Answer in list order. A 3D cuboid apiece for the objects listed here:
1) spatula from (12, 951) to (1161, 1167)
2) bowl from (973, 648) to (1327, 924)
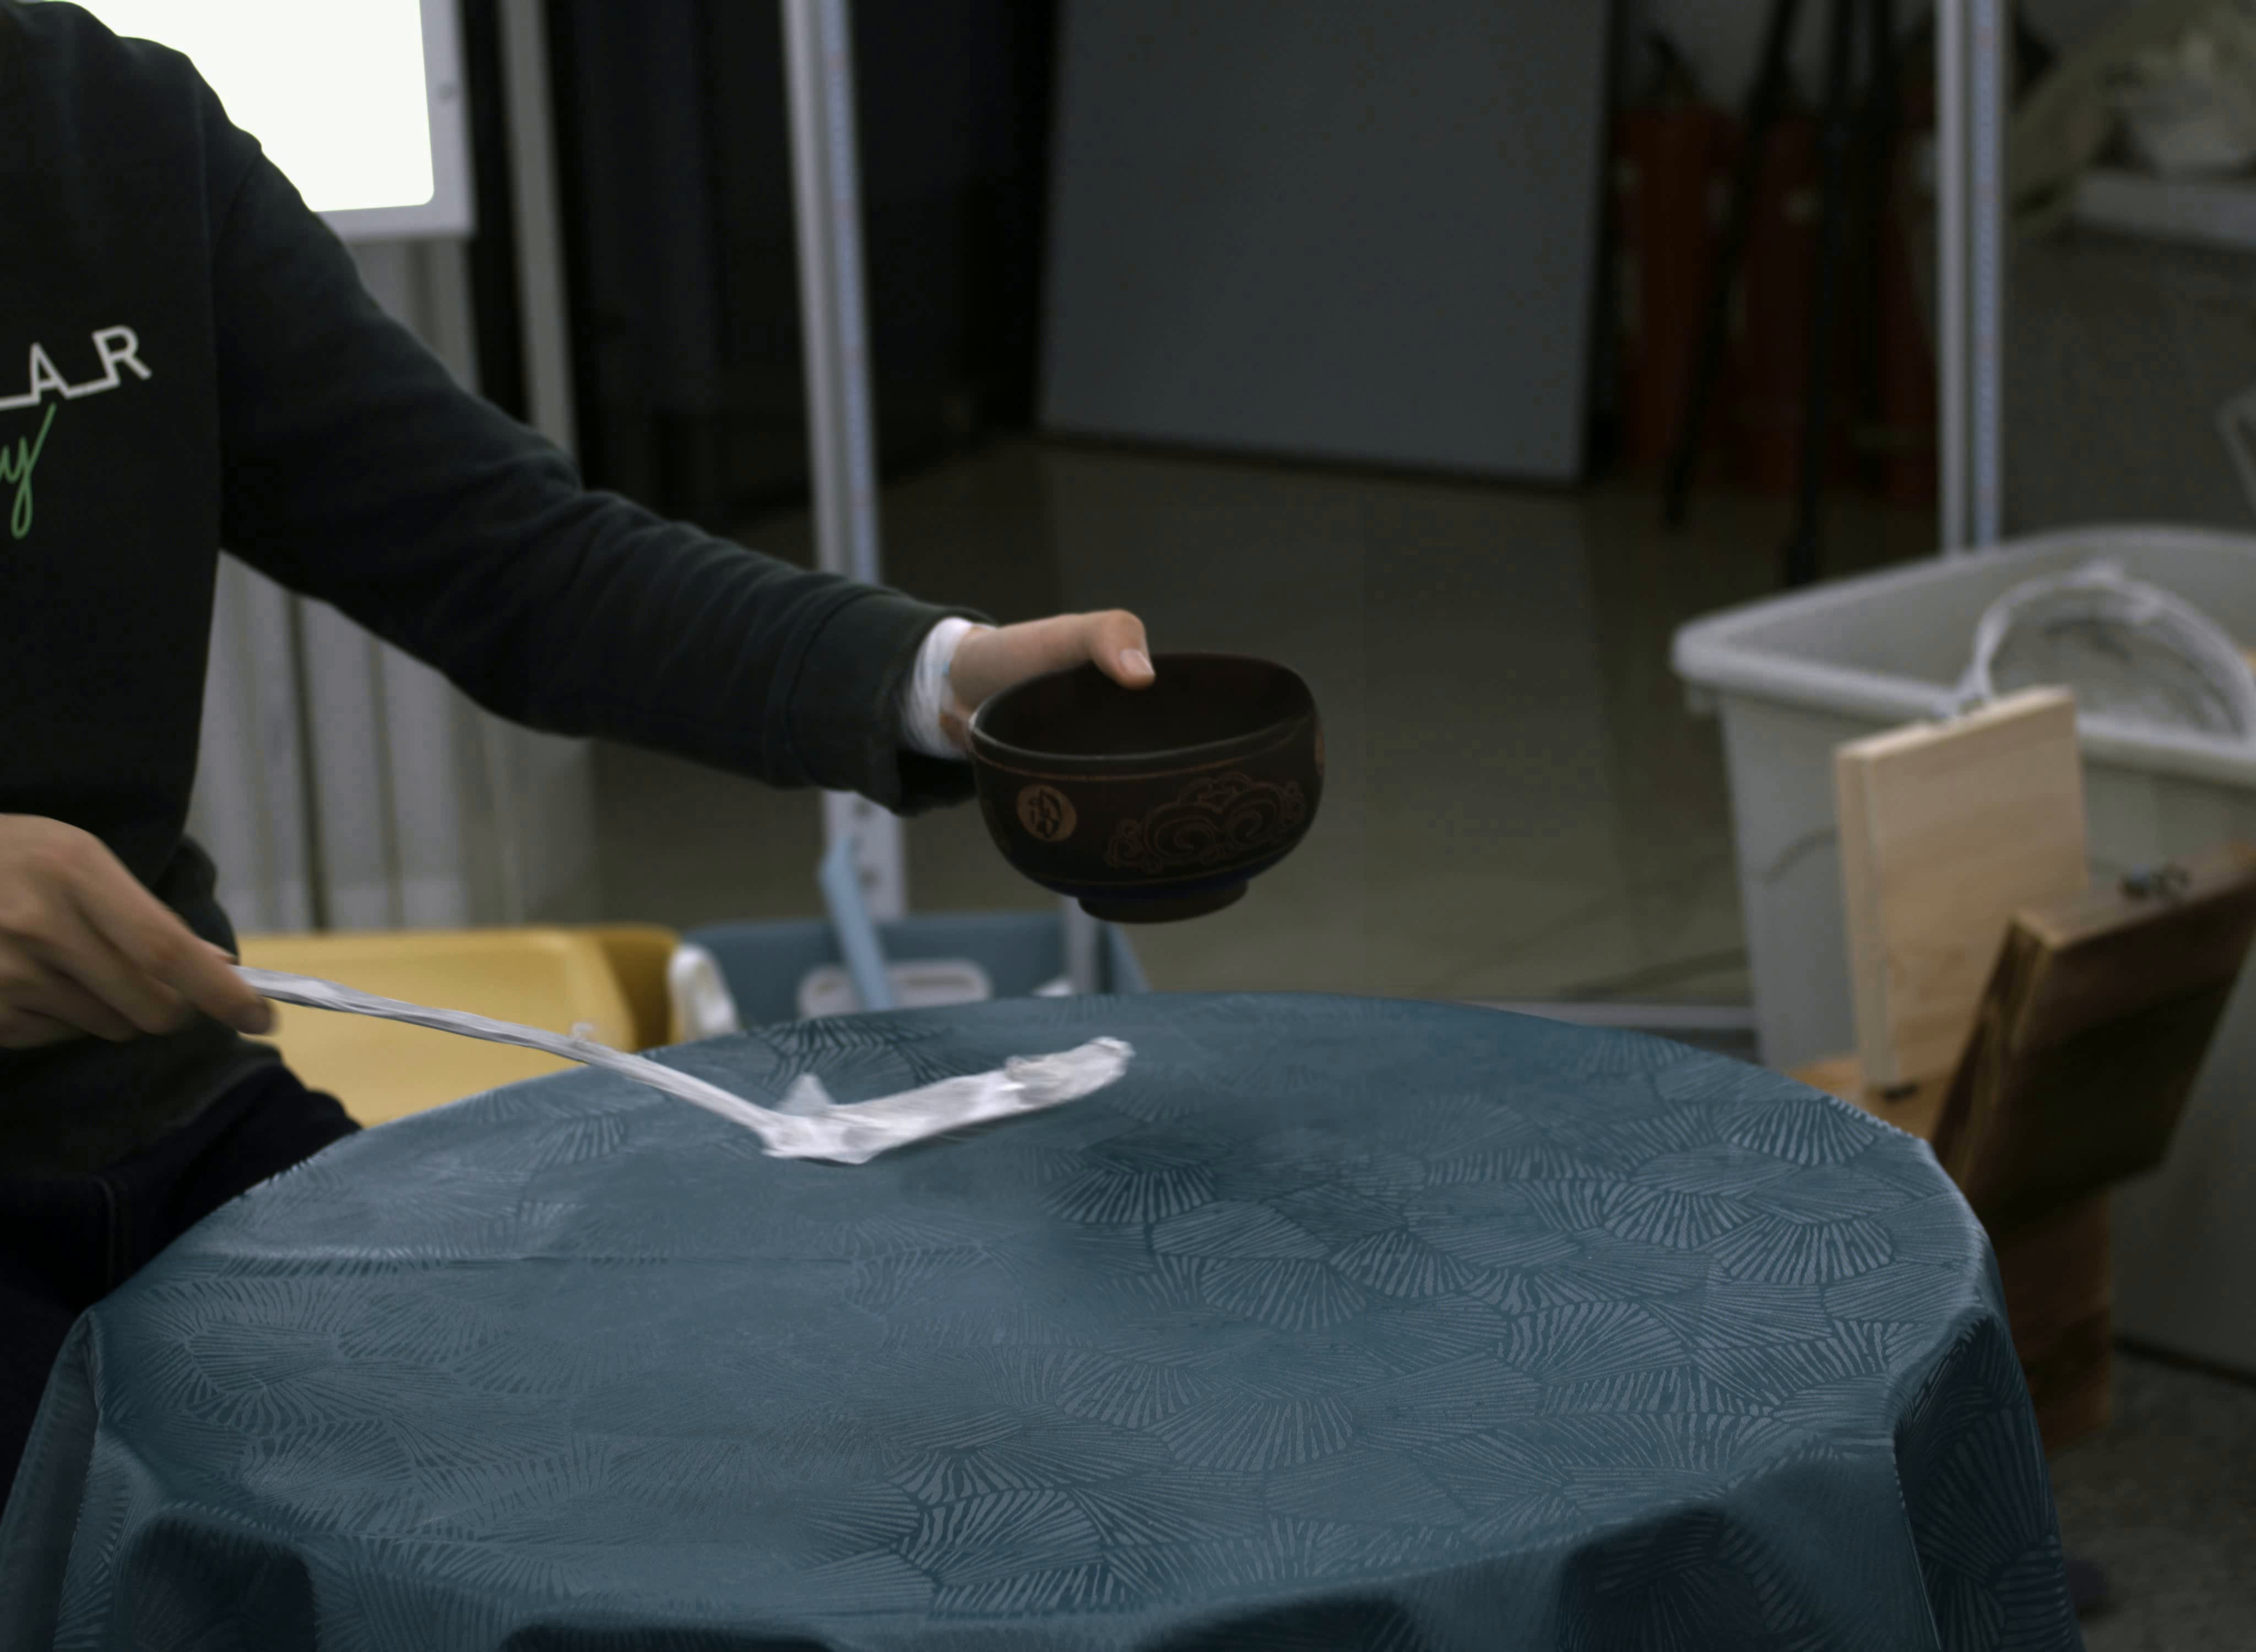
[{"bbox_3d":[-0.168,0.057,1.568,0.364,0.045,0.097,11,15,18],"label":"spatula"},{"bbox_3d":[0.009,-0.010,1.784,0.116,0.070,0.118,-6,17,1],"label":"bowl"}]
